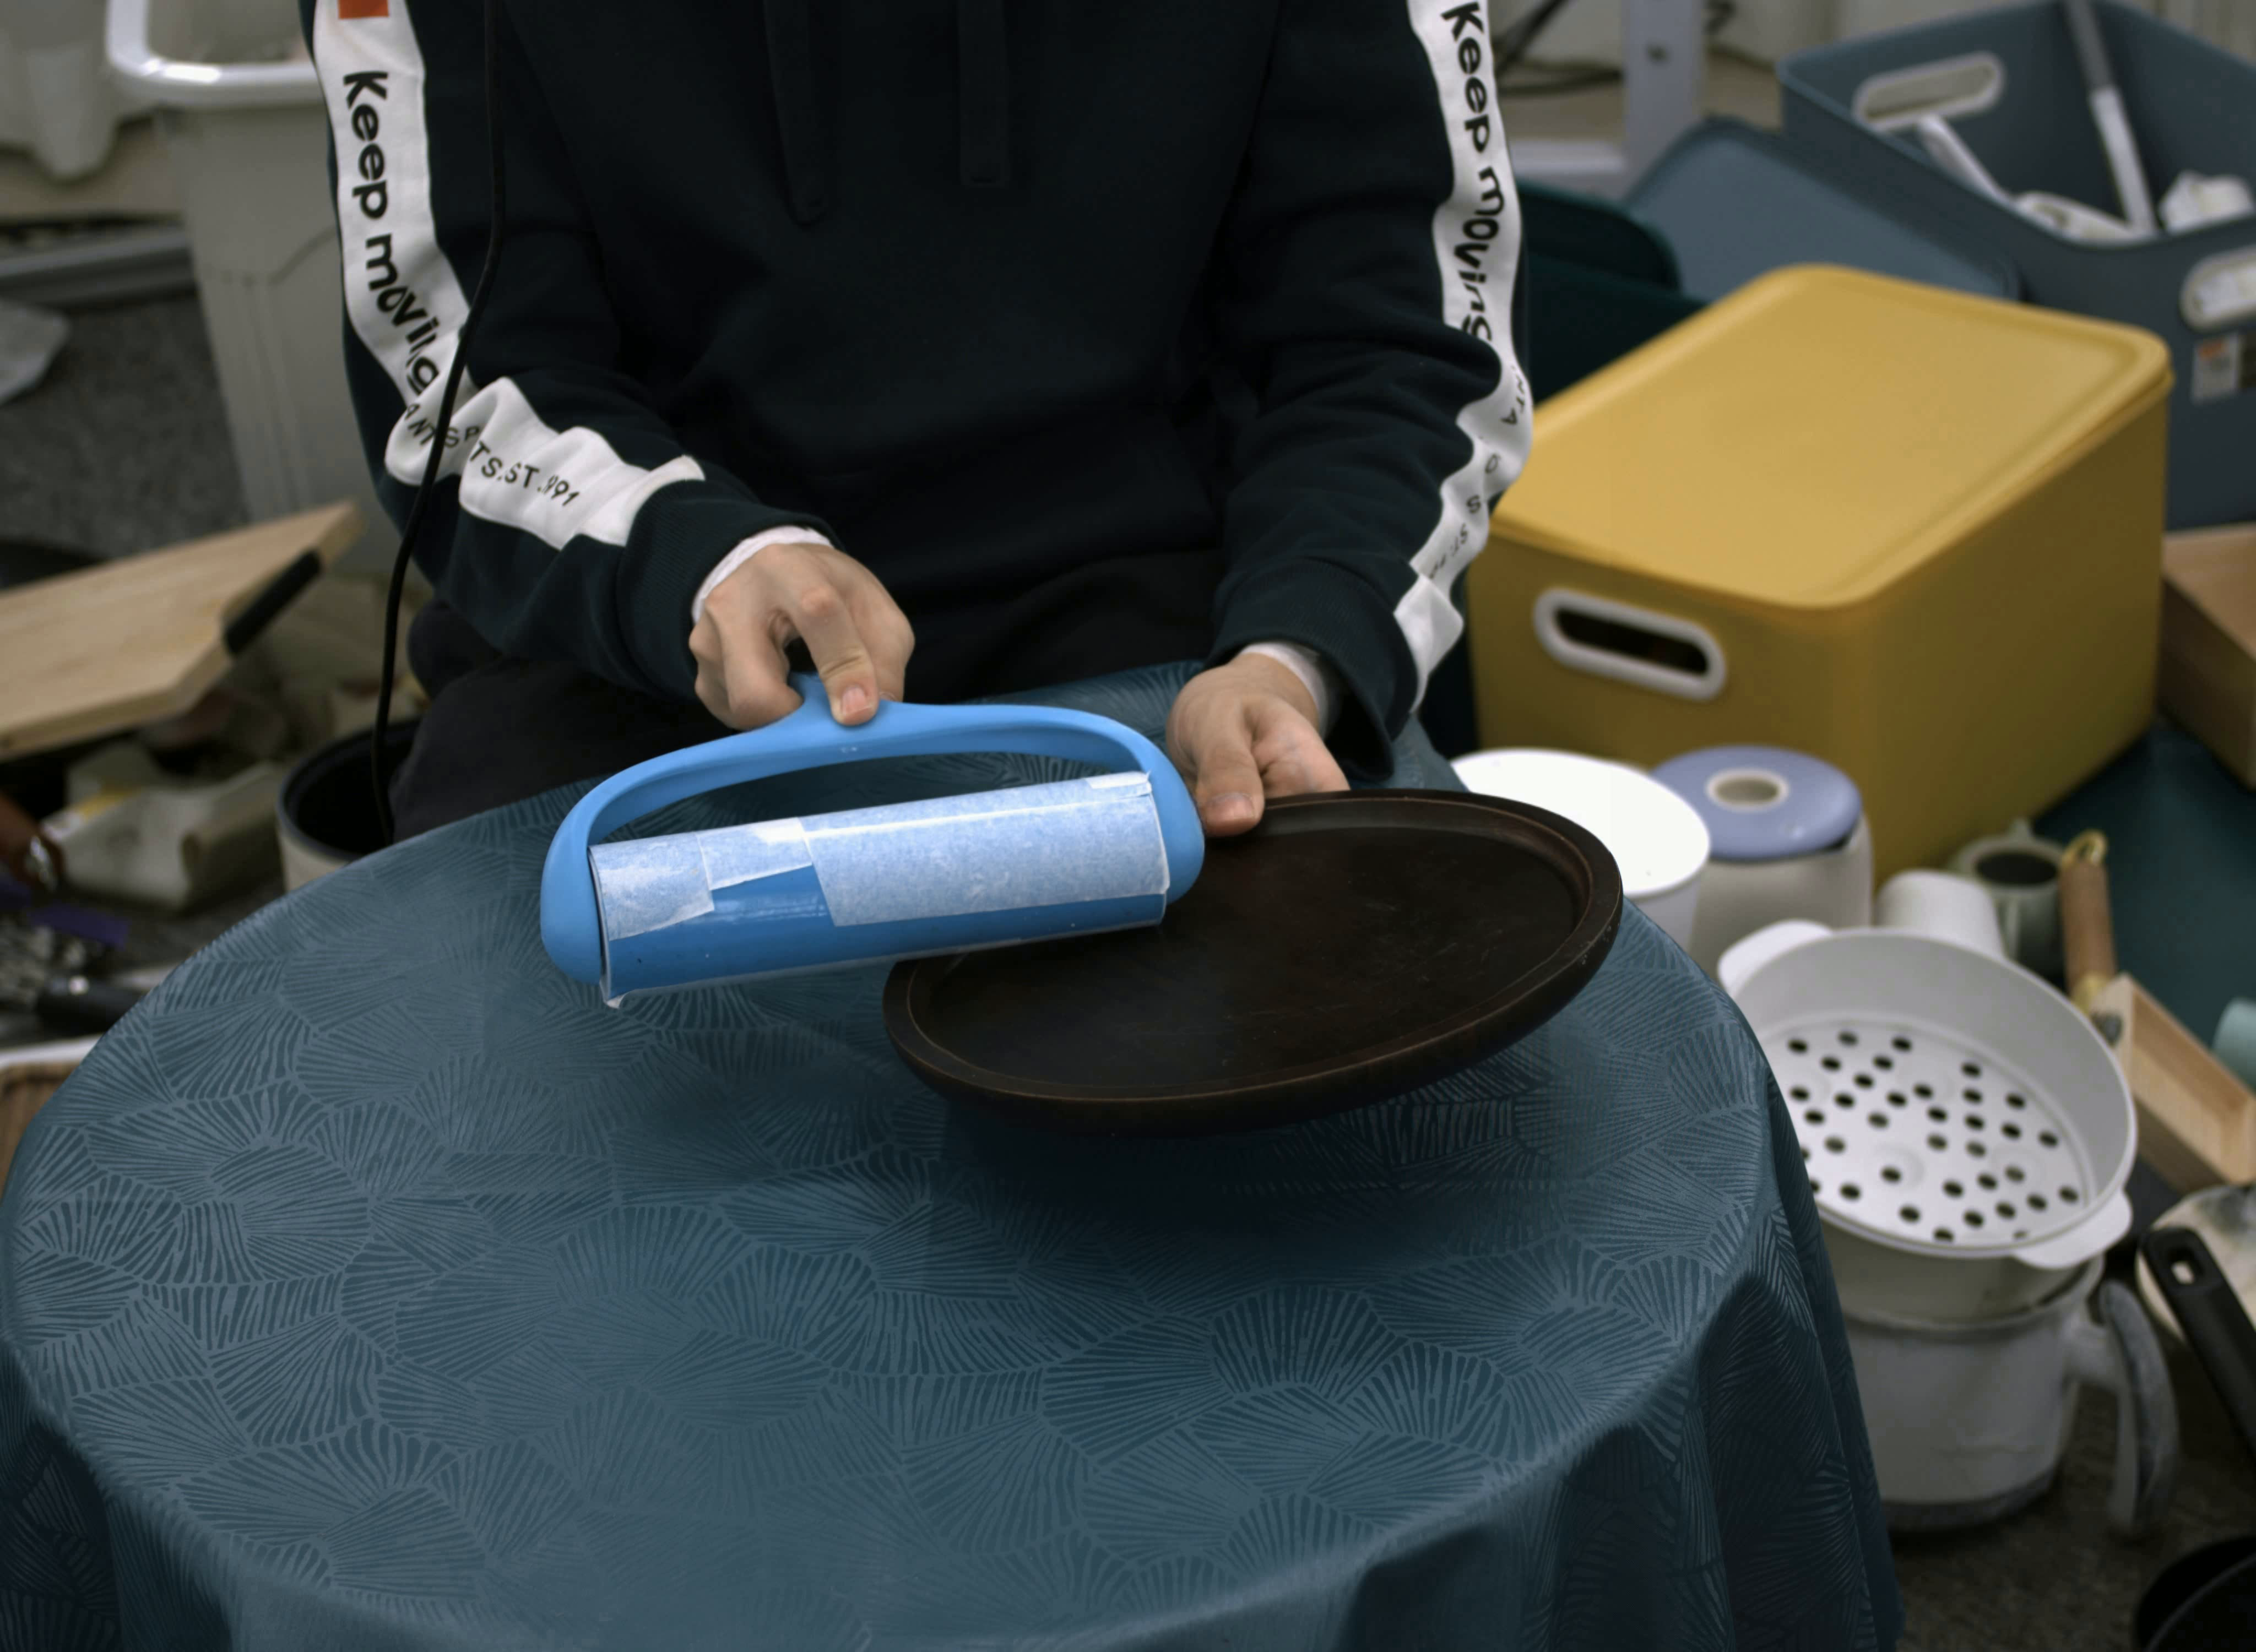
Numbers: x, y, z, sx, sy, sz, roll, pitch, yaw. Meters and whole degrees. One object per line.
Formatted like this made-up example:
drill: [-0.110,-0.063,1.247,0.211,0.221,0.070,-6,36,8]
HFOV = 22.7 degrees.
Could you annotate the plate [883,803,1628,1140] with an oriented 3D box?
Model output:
plate: [0.043,0.046,1.882,0.253,0.029,0.258,-8,20,3]

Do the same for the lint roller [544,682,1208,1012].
lint roller: [-0.101,-0.012,1.950,0.229,0.067,0.182,-10,36,-13]
